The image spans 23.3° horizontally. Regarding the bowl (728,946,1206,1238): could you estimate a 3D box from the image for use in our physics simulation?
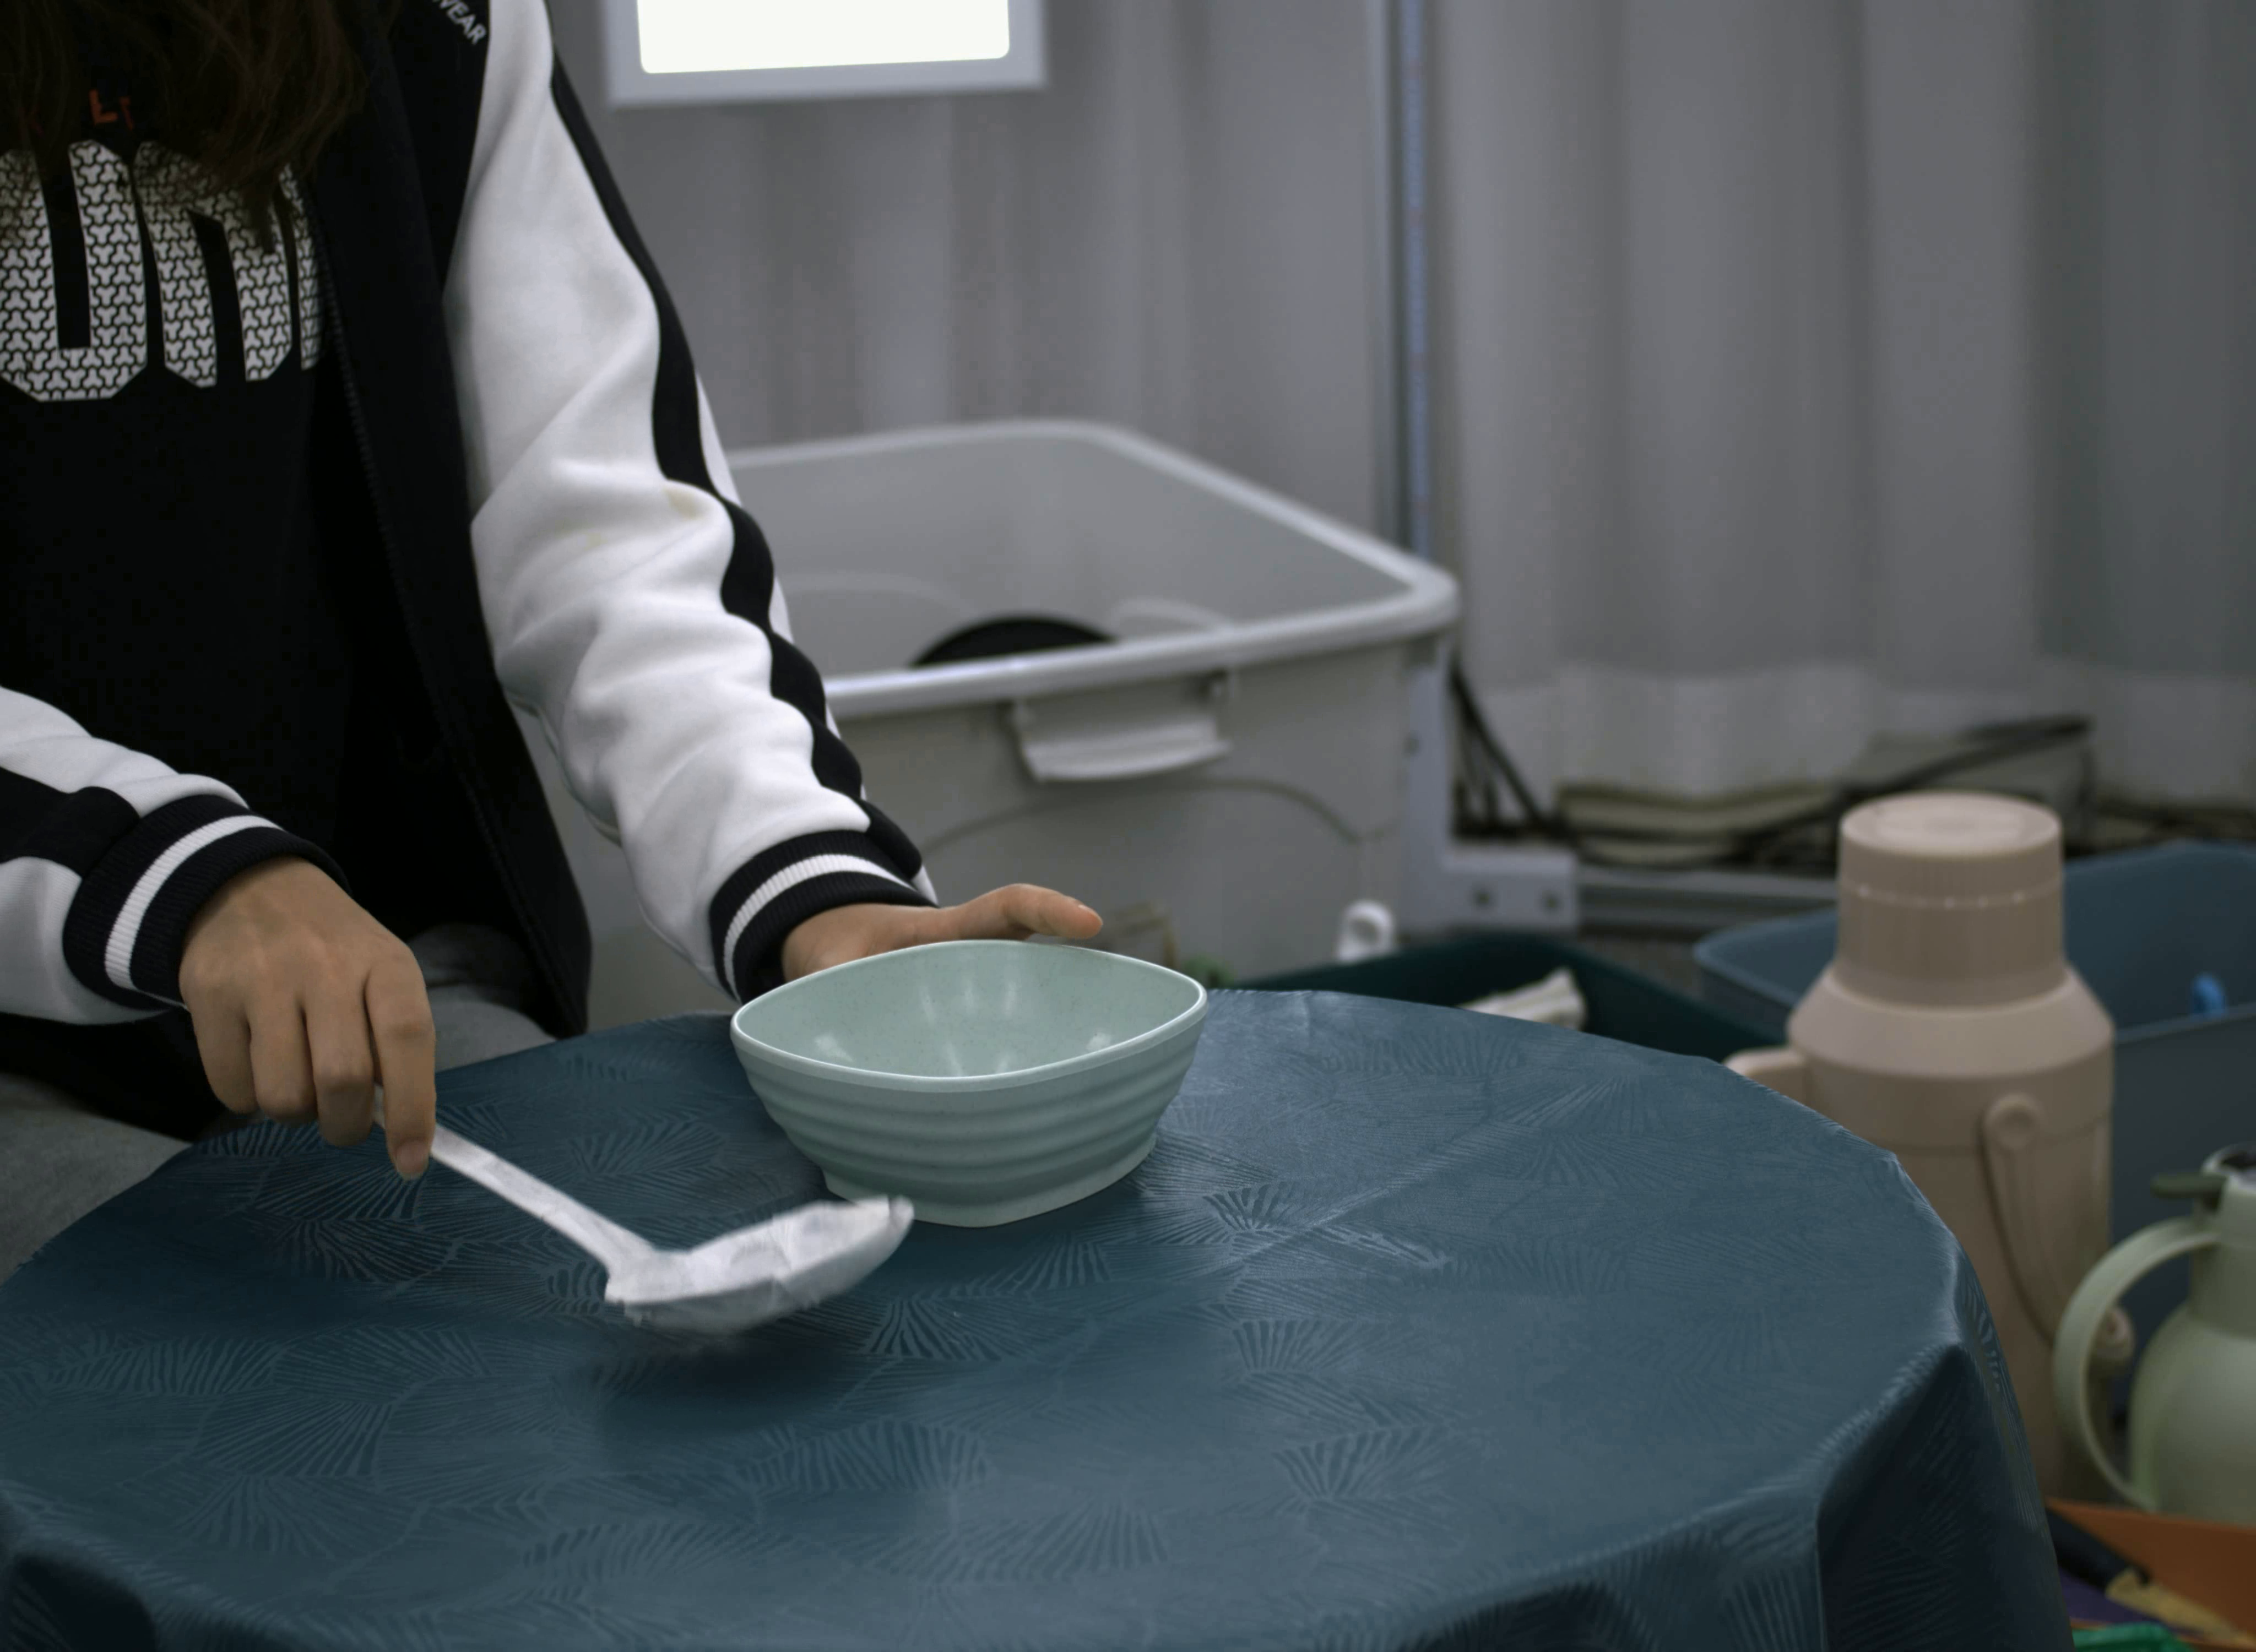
[{"bbox_3d":[-0.049,0.087,1.729,0.151,0.058,0.152,-3,15,0],"label":"bowl"}]

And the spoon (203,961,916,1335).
[{"bbox_3d":[-0.177,0.083,1.639,0.280,0.059,0.100,31,25,33],"label":"spoon"}]
